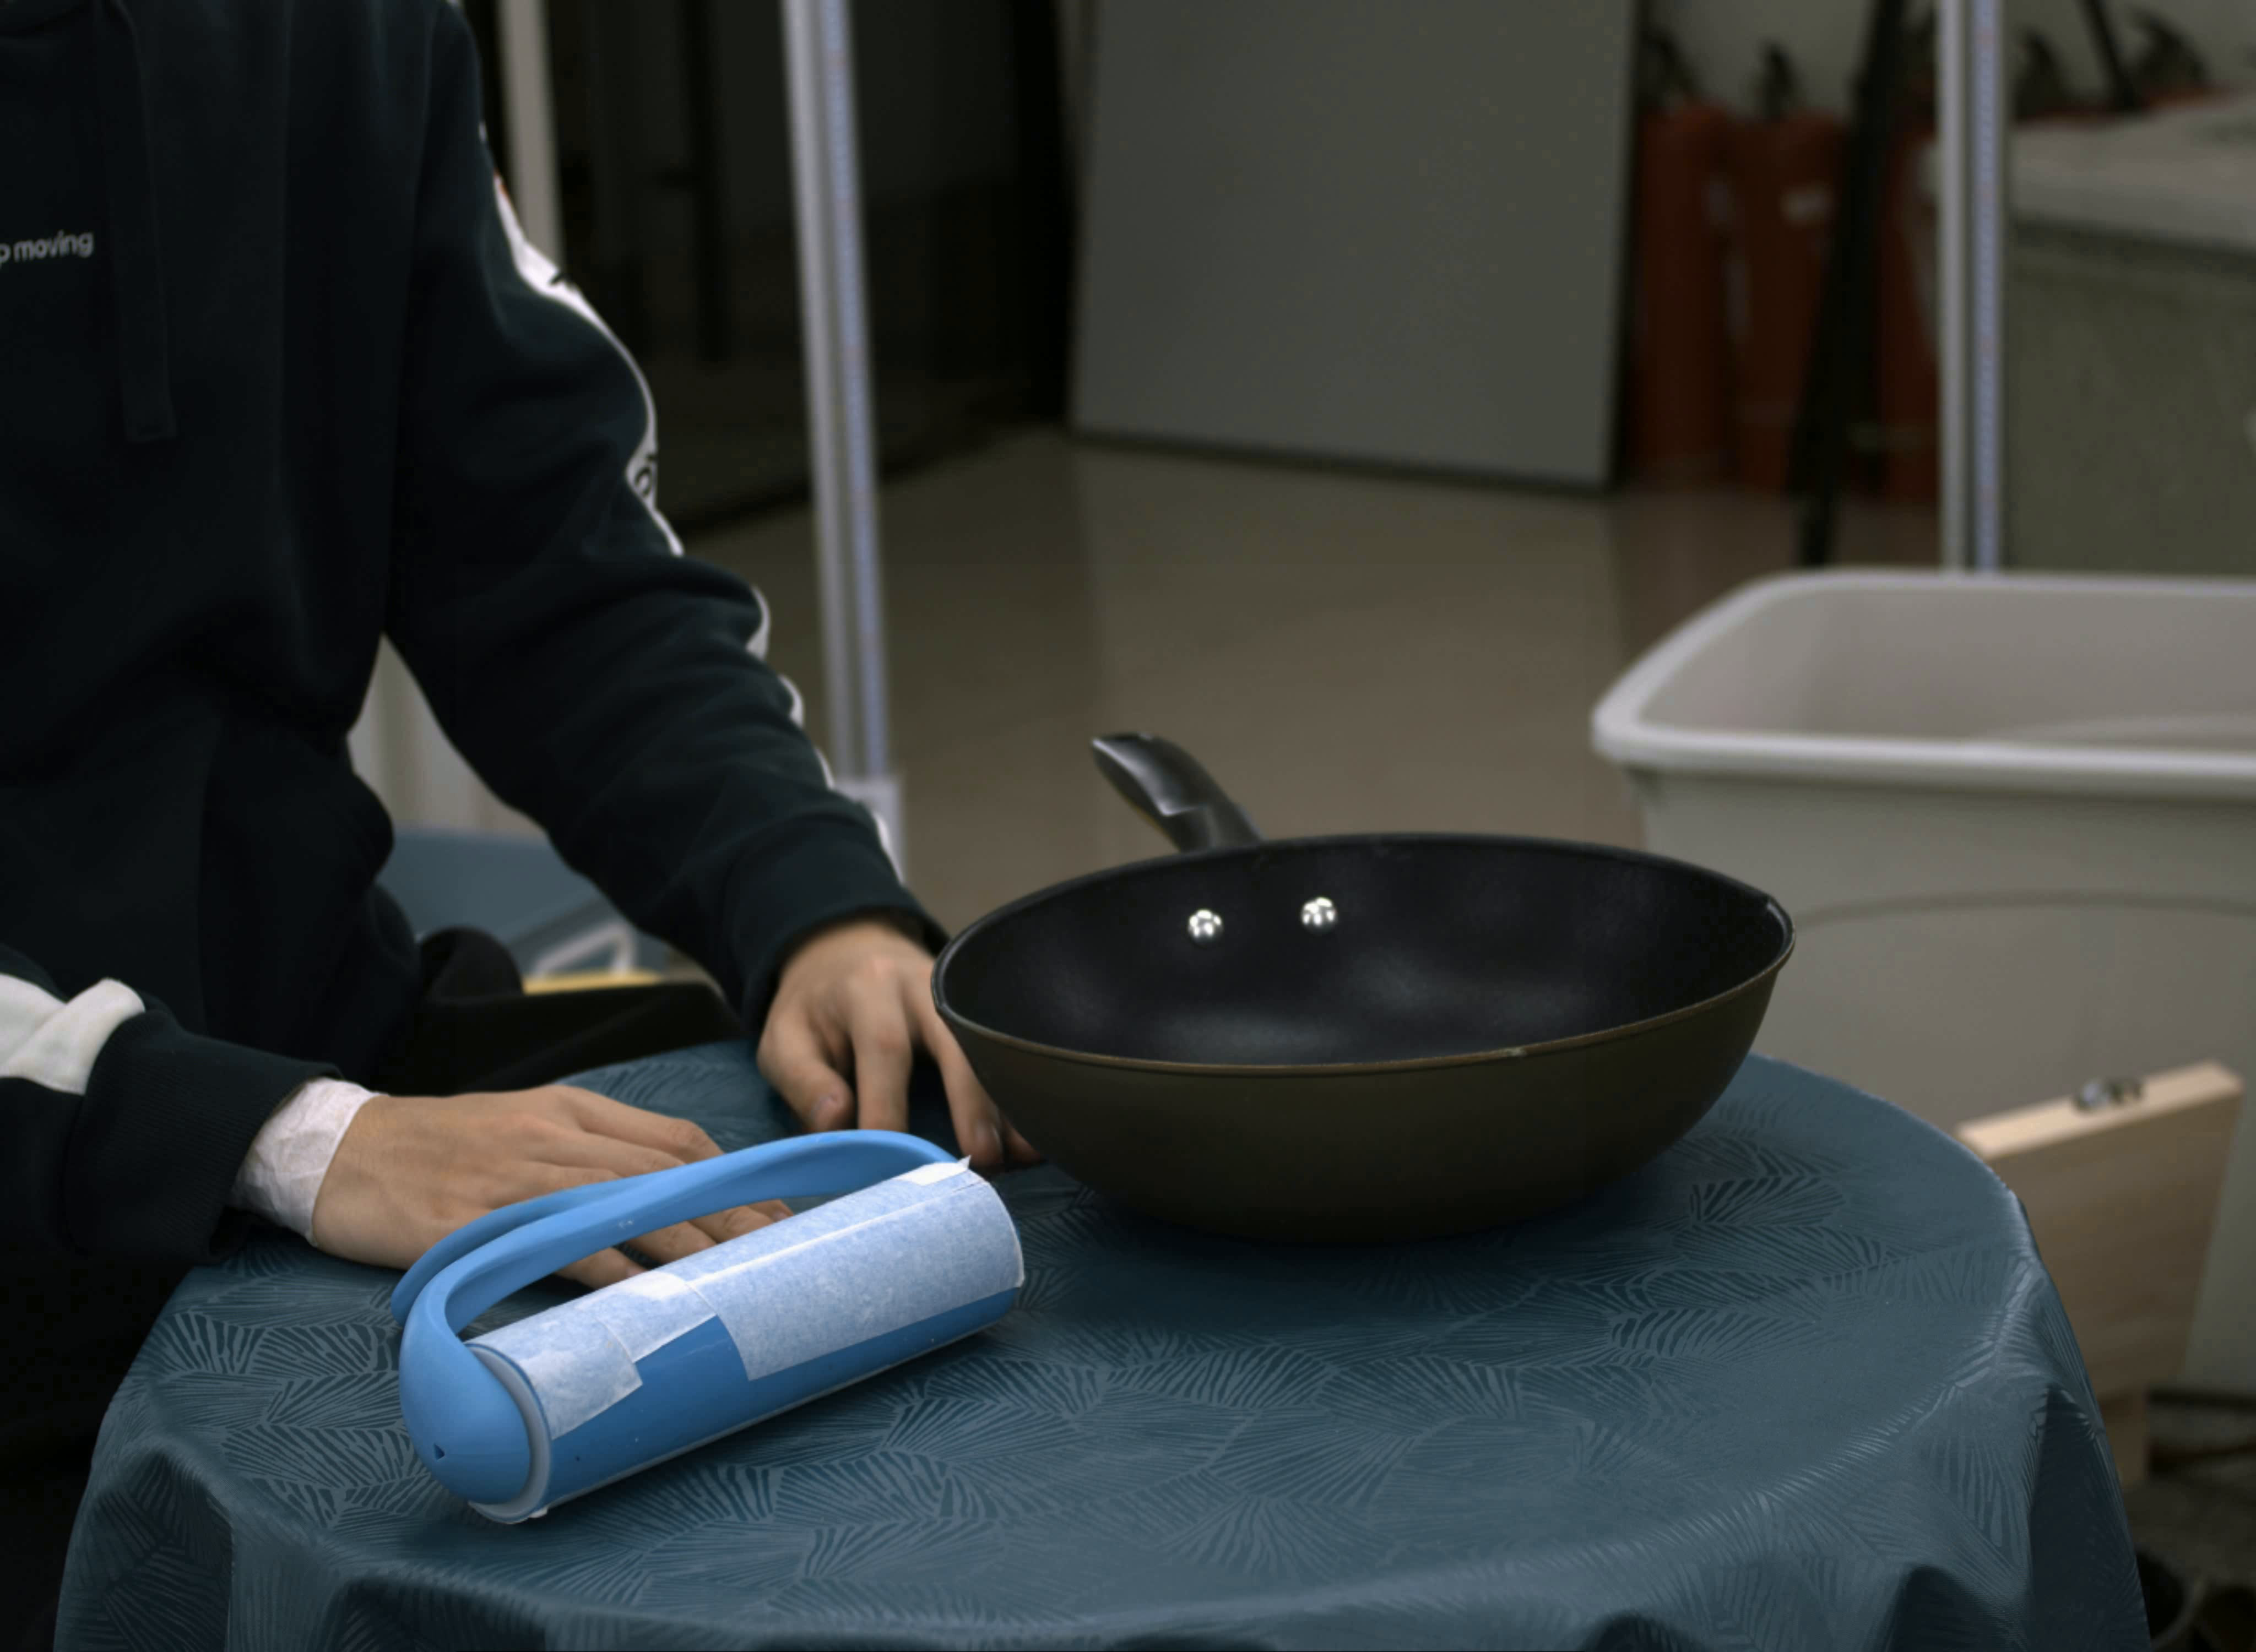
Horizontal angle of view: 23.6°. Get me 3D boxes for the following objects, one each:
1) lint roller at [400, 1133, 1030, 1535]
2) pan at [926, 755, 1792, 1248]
[{"bbox_3d":[-0.157,0.142,1.616,0.181,0.068,0.225,8,20,39],"label":"lint roller"},{"bbox_3d":[0.056,0.057,1.845,0.283,0.088,0.466,-7,13,-12],"label":"pan"}]
